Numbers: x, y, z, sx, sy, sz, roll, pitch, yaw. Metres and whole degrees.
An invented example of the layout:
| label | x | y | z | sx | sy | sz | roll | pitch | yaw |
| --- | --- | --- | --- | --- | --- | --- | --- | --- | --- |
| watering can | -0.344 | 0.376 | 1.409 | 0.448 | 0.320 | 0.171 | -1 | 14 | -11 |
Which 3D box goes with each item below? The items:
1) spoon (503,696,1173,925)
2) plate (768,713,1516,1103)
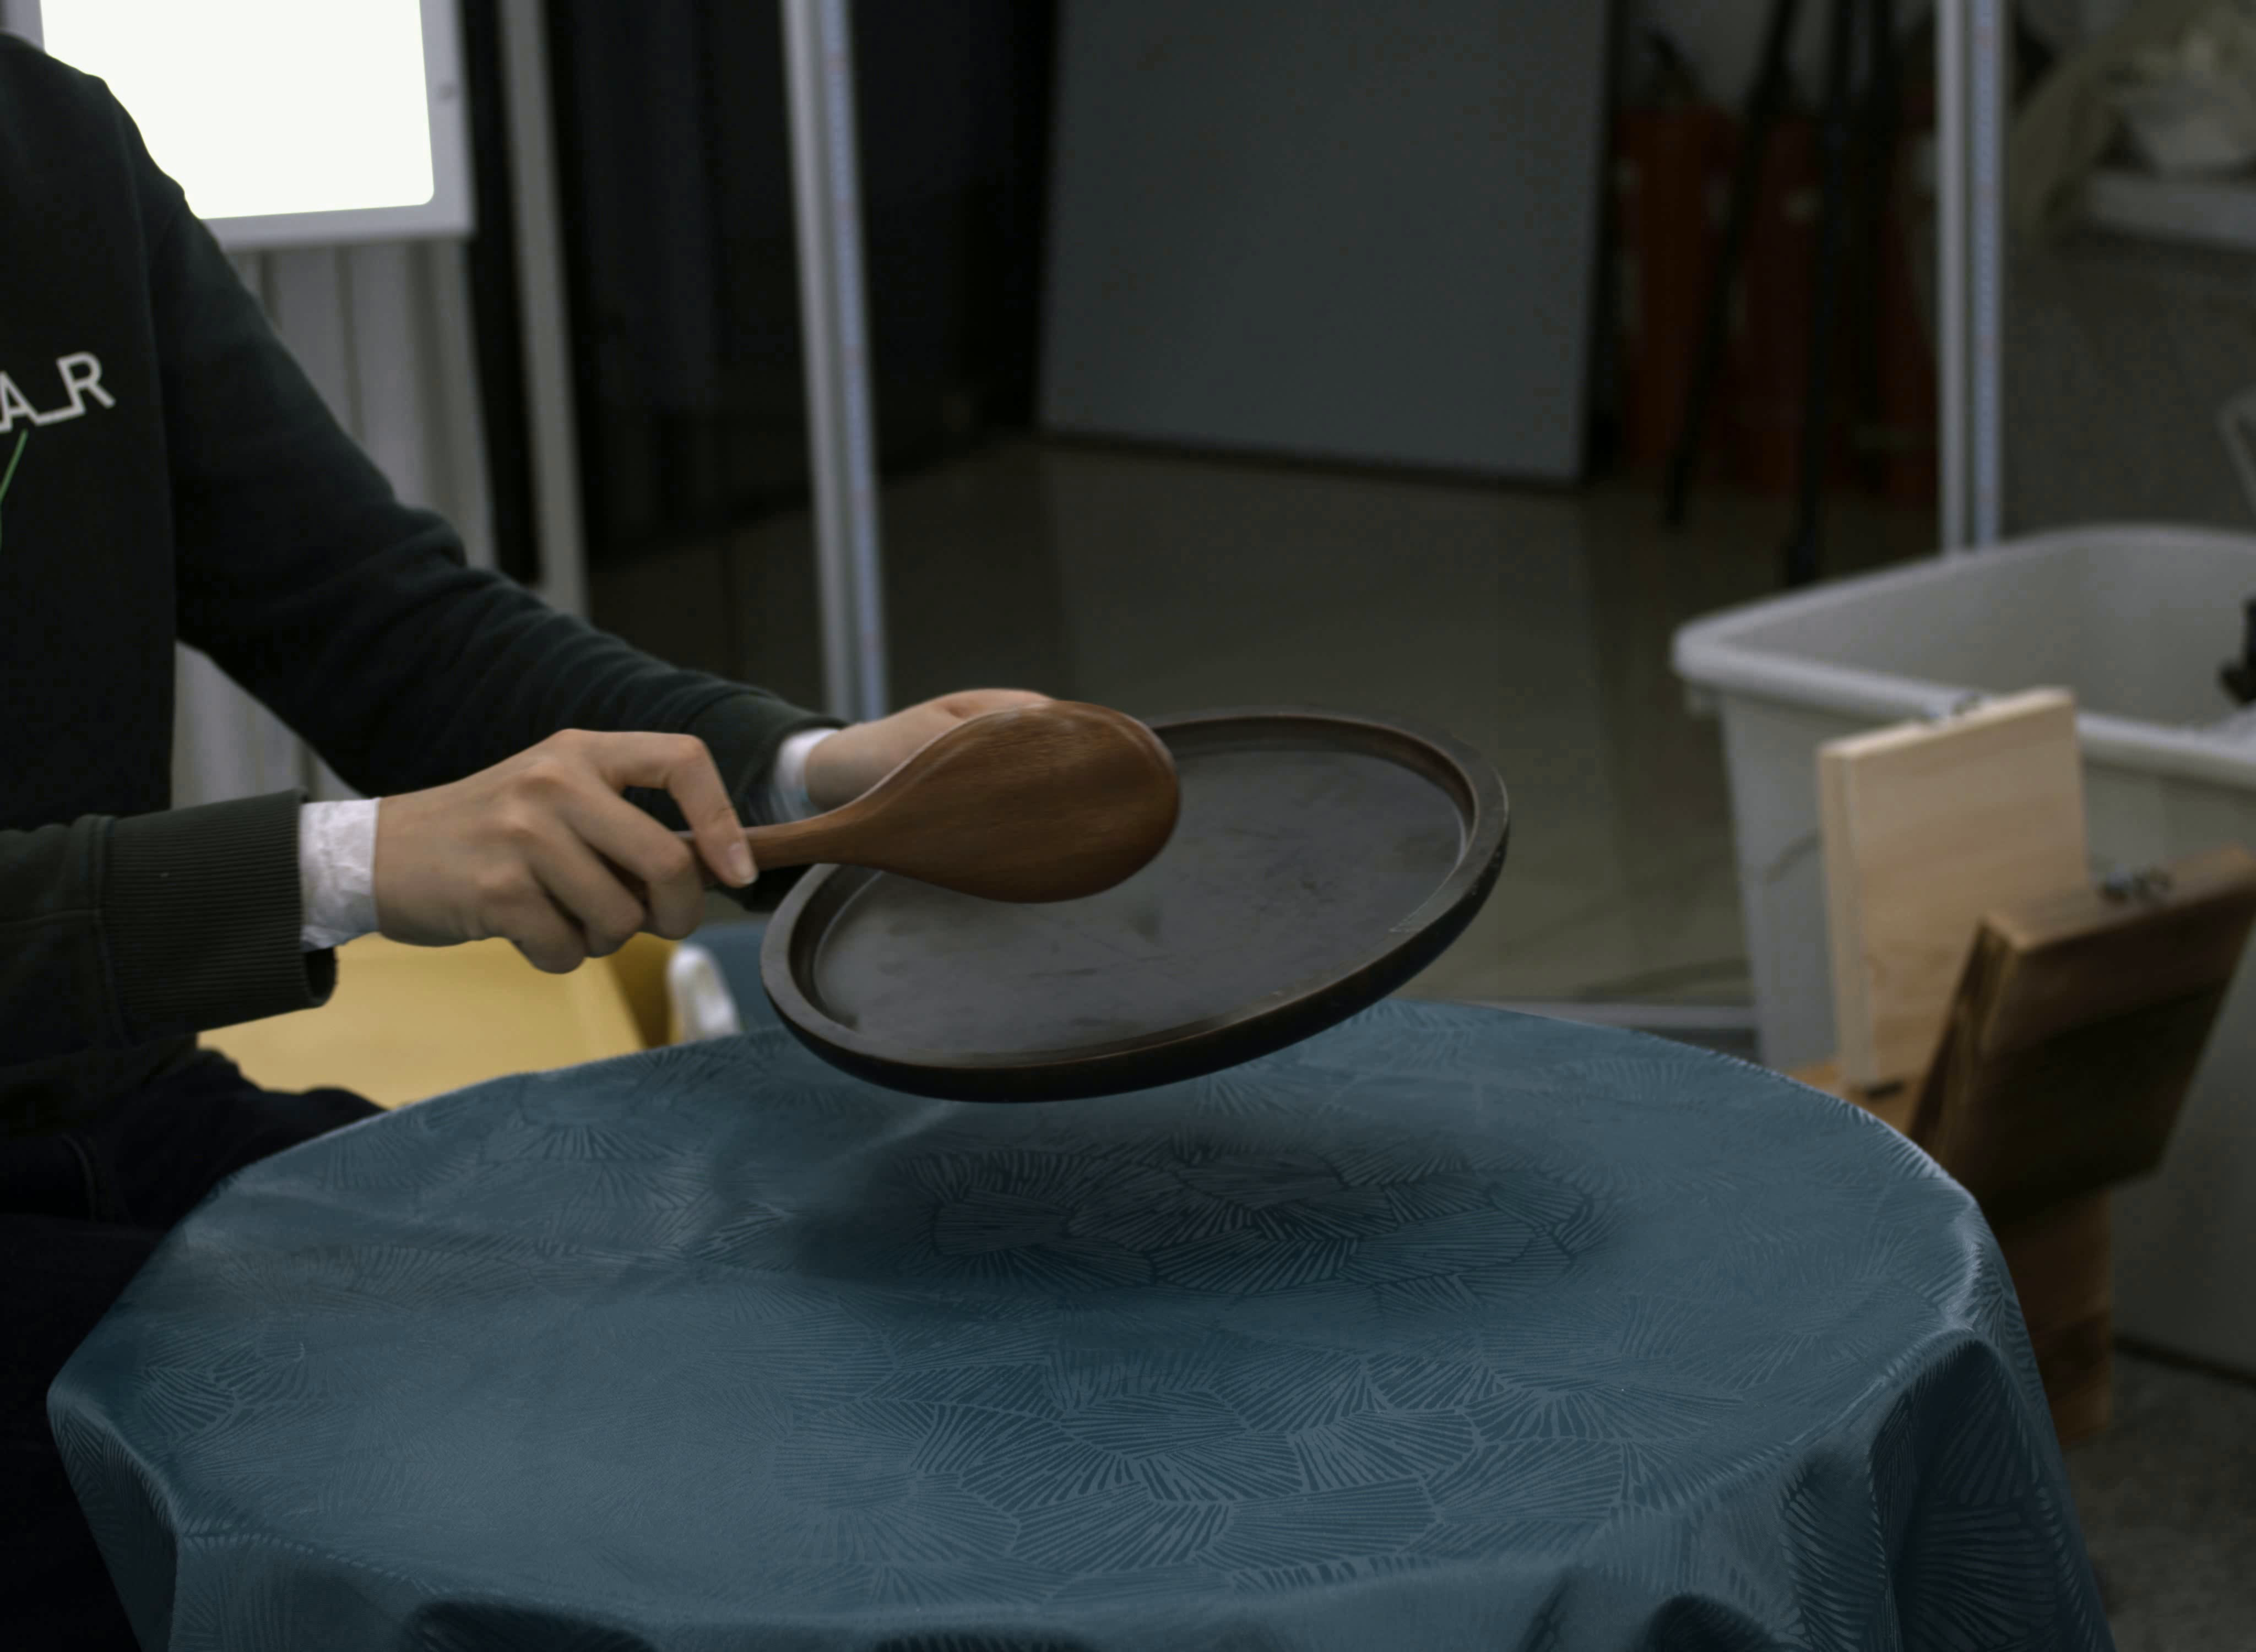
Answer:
| label | x | y | z | sx | sy | sz | roll | pitch | yaw |
| --- | --- | --- | --- | --- | --- | --- | --- | --- | --- |
| spoon | -0.091 | 0.004 | 1.691 | 0.214 | 0.075 | 0.017 | -9 | 35 | 7 |
| plate | 0.005 | 0.025 | 1.763 | 0.252 | 0.029 | 0.255 | -12 | 23 | 4 |
